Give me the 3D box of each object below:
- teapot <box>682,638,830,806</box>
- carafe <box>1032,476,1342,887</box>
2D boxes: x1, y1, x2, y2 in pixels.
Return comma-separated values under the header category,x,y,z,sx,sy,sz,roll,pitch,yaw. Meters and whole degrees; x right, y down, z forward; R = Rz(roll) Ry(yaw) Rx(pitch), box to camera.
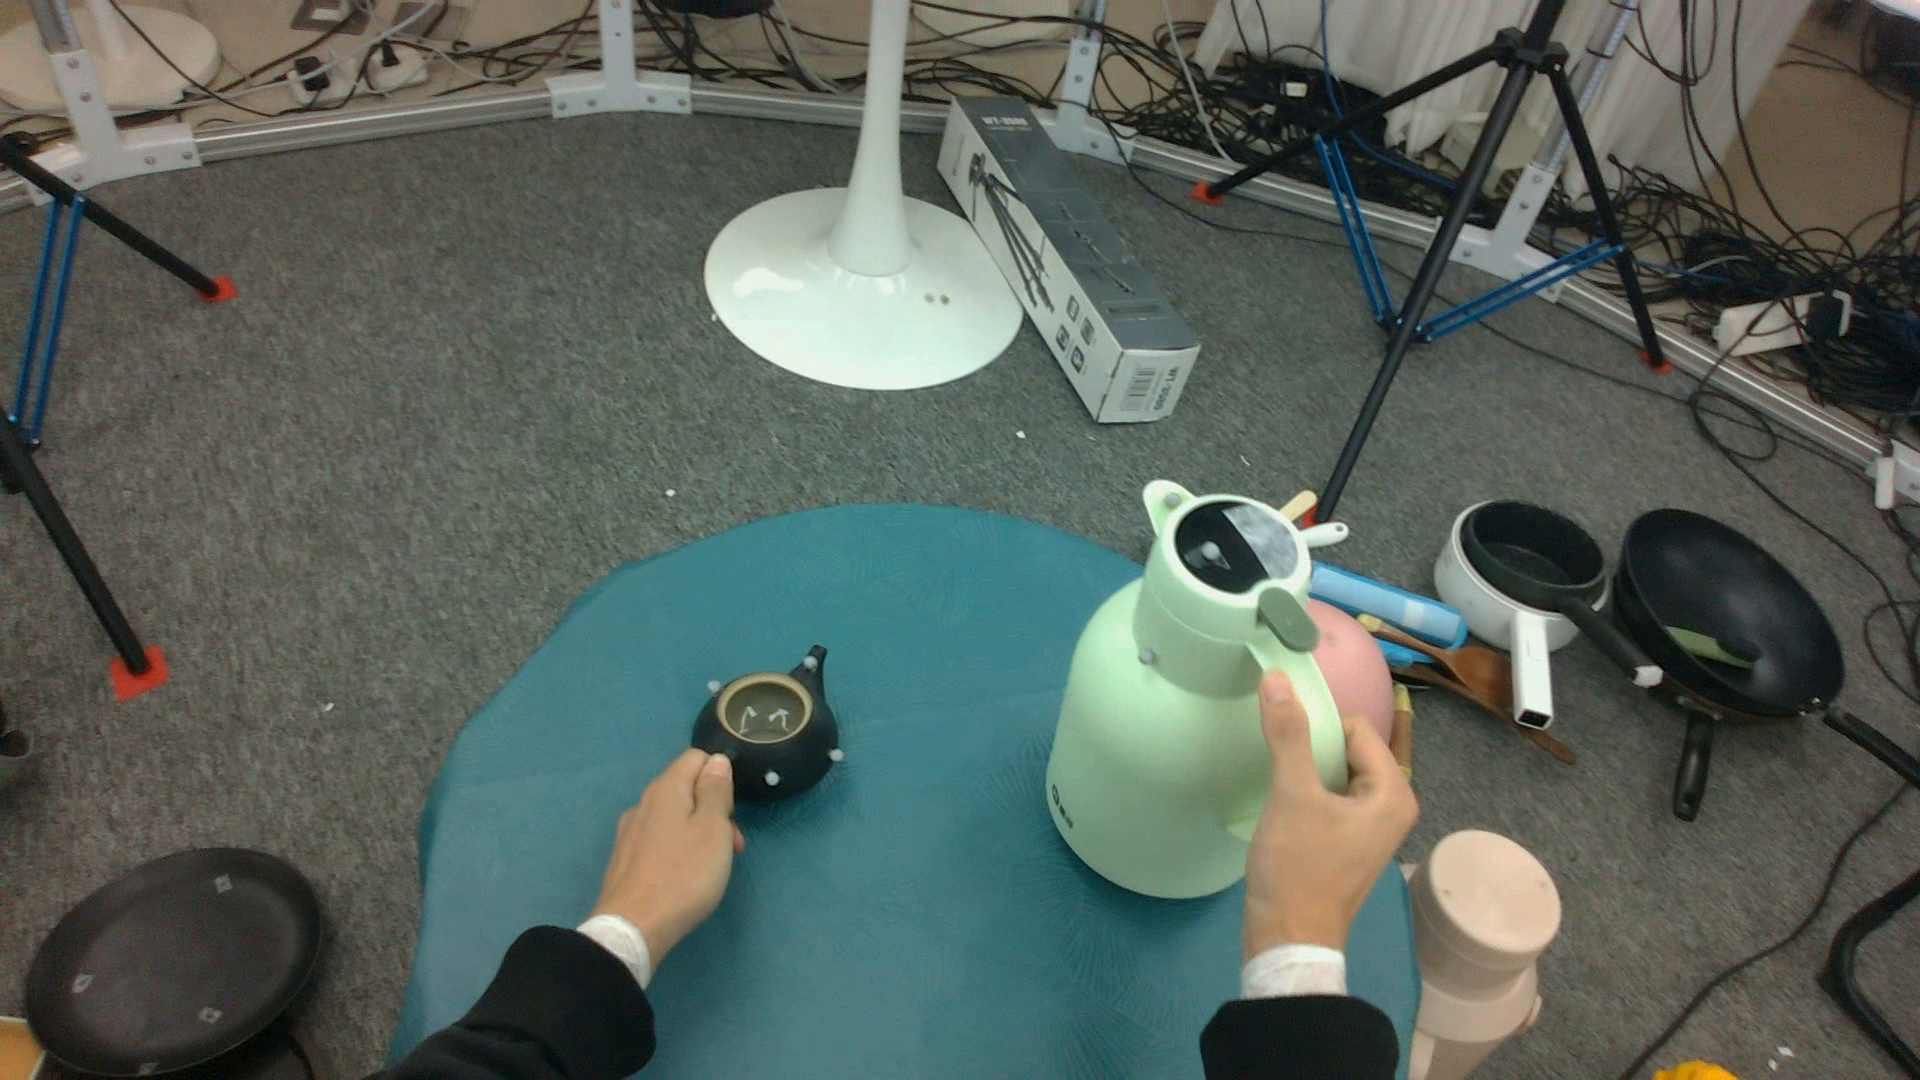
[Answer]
category,x,y,z,sx,sy,sz,roll,pitch,yaw
teapot,-0.126,0.117,0.852,0.091,0.053,0.134,21,41,17
carafe,0.135,0.093,0.784,0.144,0.255,0.187,-17,56,-21
